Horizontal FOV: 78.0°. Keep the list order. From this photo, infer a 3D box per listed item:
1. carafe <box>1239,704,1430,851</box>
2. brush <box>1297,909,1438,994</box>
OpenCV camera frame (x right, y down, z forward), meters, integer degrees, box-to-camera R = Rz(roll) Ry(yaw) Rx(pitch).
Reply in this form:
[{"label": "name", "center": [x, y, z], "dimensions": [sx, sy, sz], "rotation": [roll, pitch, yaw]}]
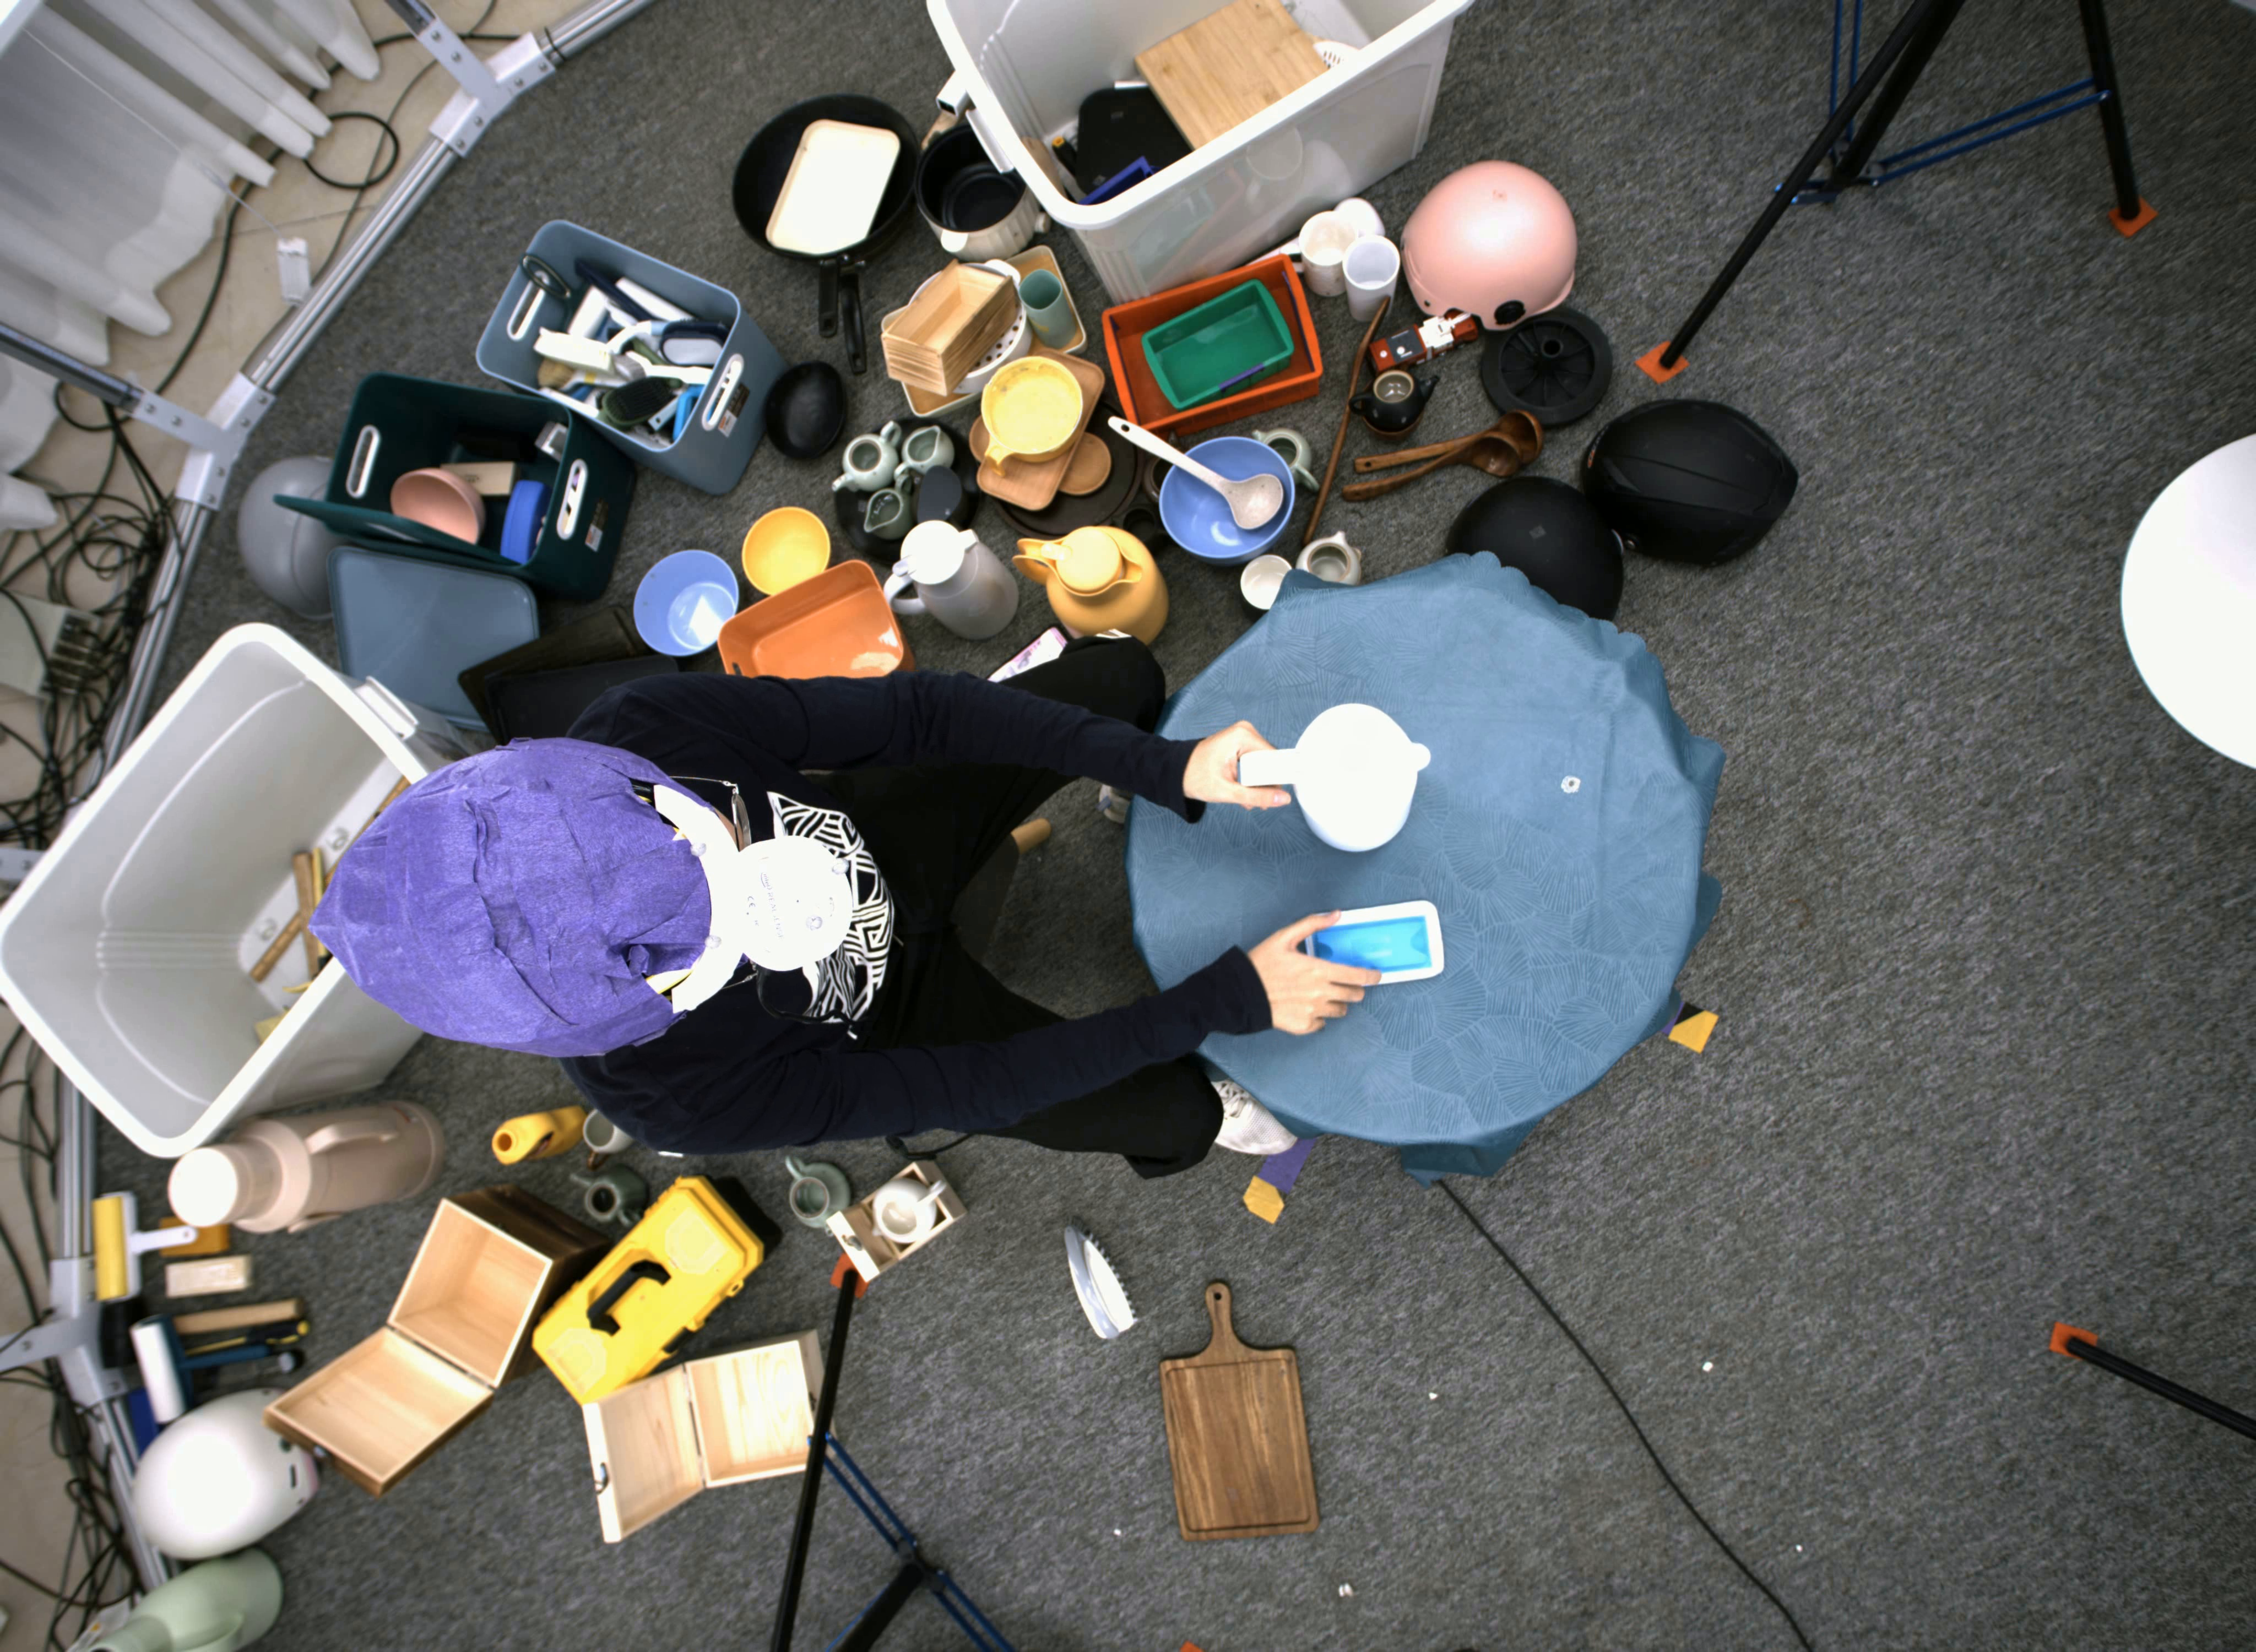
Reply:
[{"label": "carafe", "center": [0.202, -0.043, 1.342], "dimensions": [0.173, 0.269, 0.123], "rotation": [-4, 86, 10]}, {"label": "brush", "center": [0.247, 0.125, 1.428], "dimensions": [0.144, 0.056, 0.083], "rotation": [-6, 82, 6]}]
